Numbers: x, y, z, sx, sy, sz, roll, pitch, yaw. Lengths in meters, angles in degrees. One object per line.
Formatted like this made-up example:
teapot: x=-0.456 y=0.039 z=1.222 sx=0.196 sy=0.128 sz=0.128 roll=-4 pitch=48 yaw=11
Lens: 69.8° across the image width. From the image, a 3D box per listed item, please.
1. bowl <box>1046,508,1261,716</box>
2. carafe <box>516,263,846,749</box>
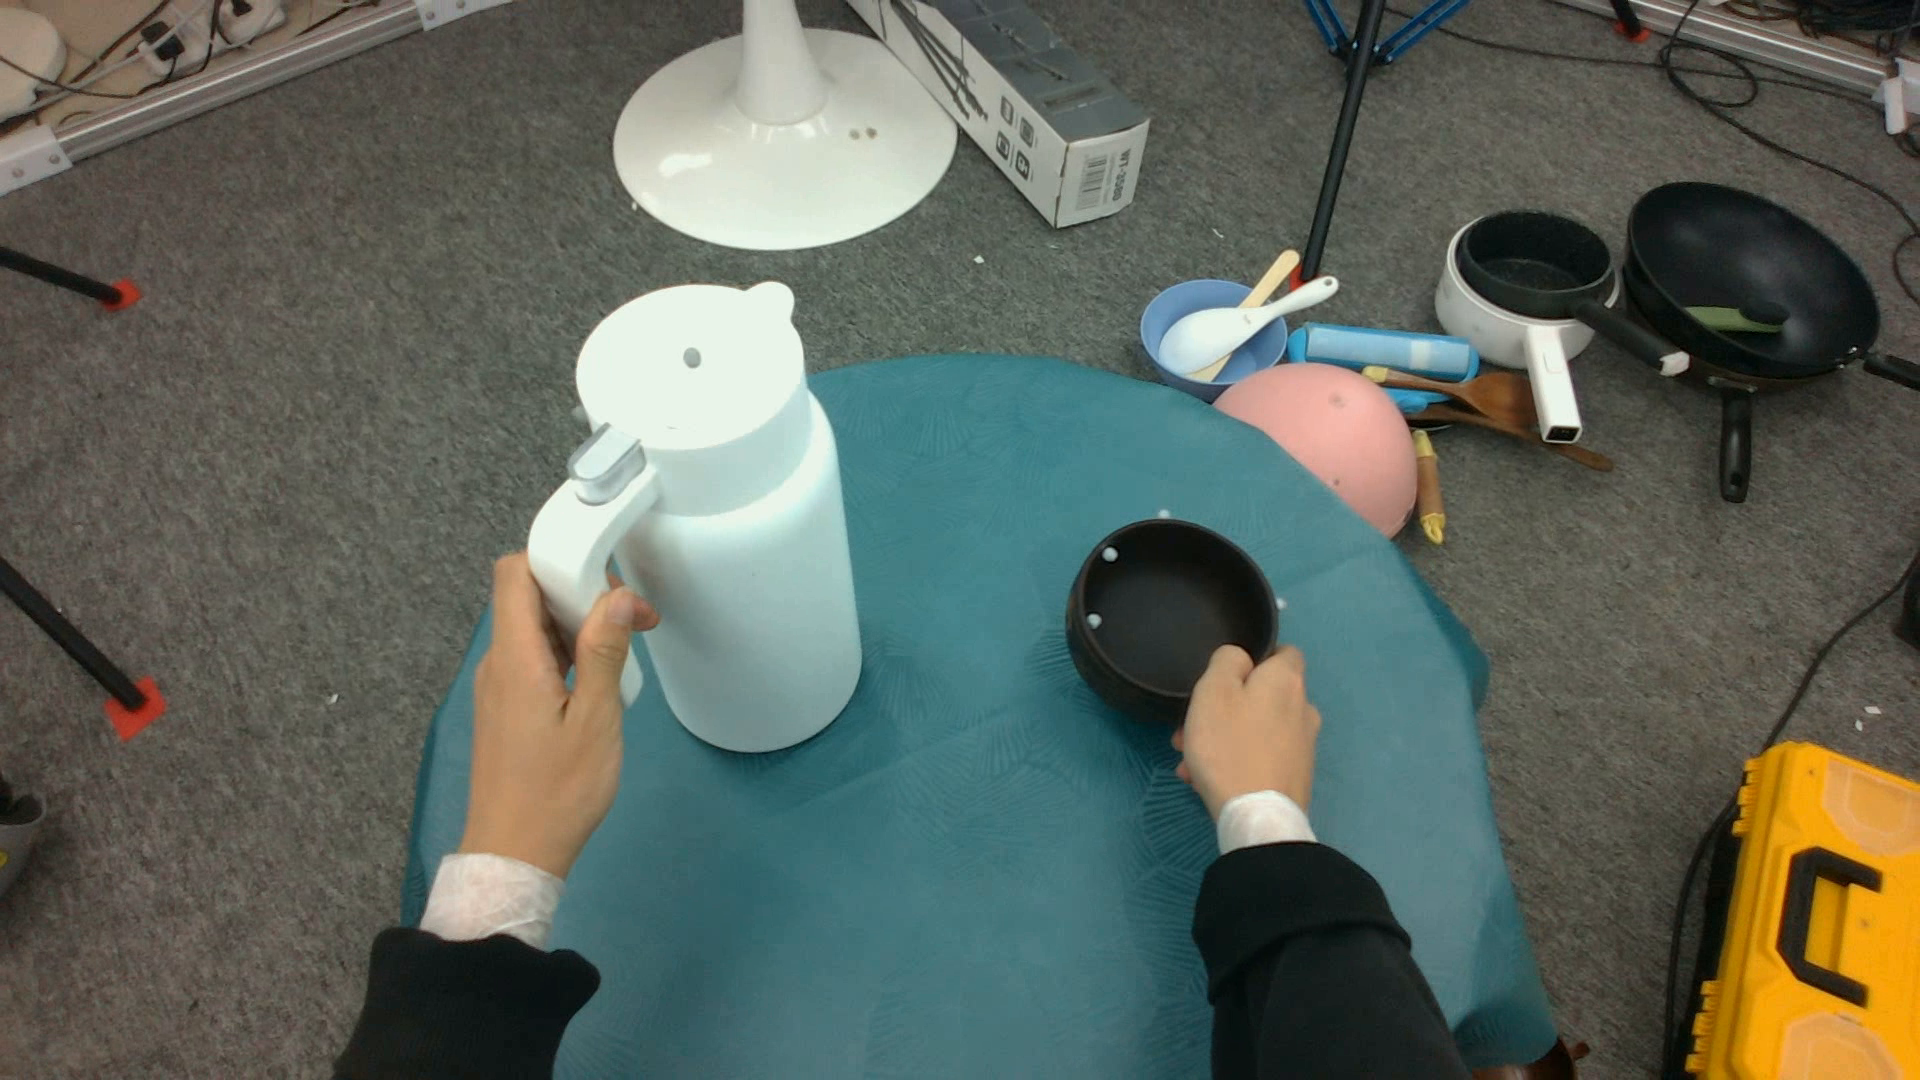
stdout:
bowl: x=0.106 y=0.047 z=0.785 sx=0.118 sy=0.069 sz=0.118 roll=3 pitch=57 yaw=-5
carafe: x=-0.133 y=0.009 z=0.699 sx=0.124 sy=0.267 sz=0.173 roll=25 pitch=58 yaw=15
